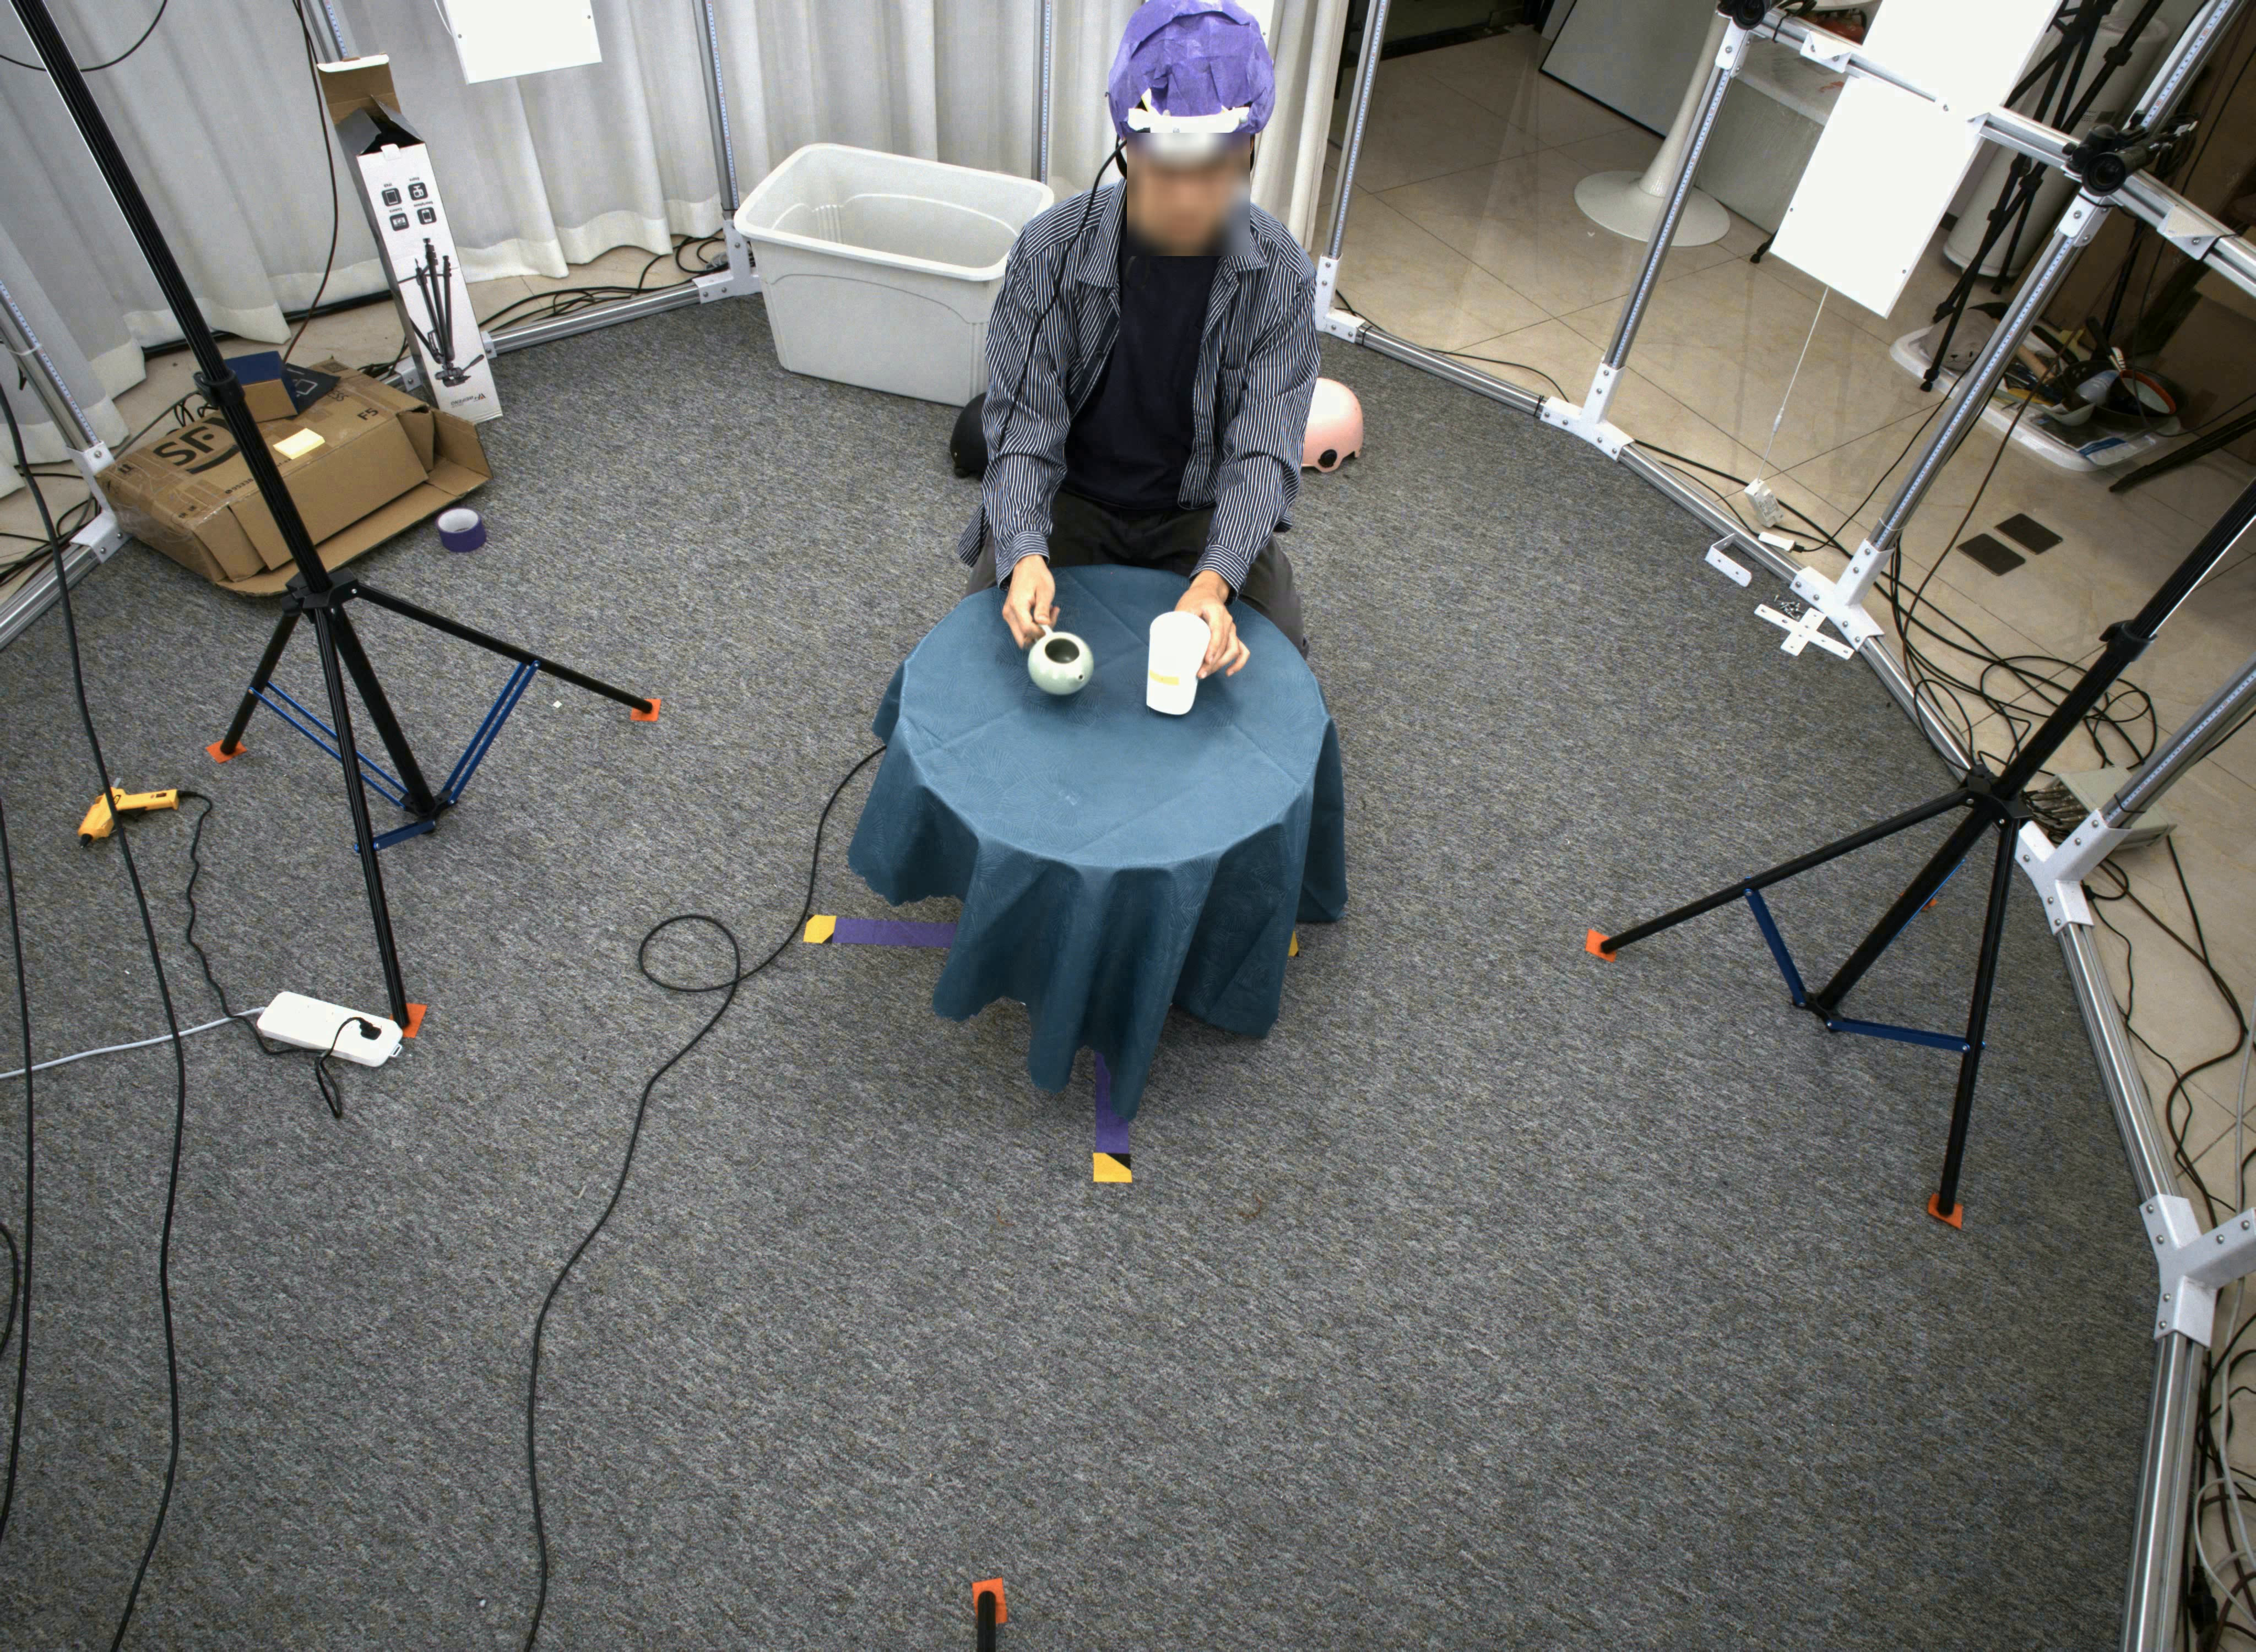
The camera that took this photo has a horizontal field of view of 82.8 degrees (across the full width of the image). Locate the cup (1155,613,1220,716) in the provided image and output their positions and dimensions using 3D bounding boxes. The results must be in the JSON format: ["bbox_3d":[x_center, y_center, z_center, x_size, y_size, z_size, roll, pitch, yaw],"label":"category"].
[{"bbox_3d":[0.077,-0.218,1.761,0.081,0.122,0.084,3,49,-4],"label":"cup"}]

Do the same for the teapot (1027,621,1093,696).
[{"bbox_3d":[-0.098,-0.230,1.777,0.091,0.059,0.131,-19,60,-17],"label":"teapot"}]
